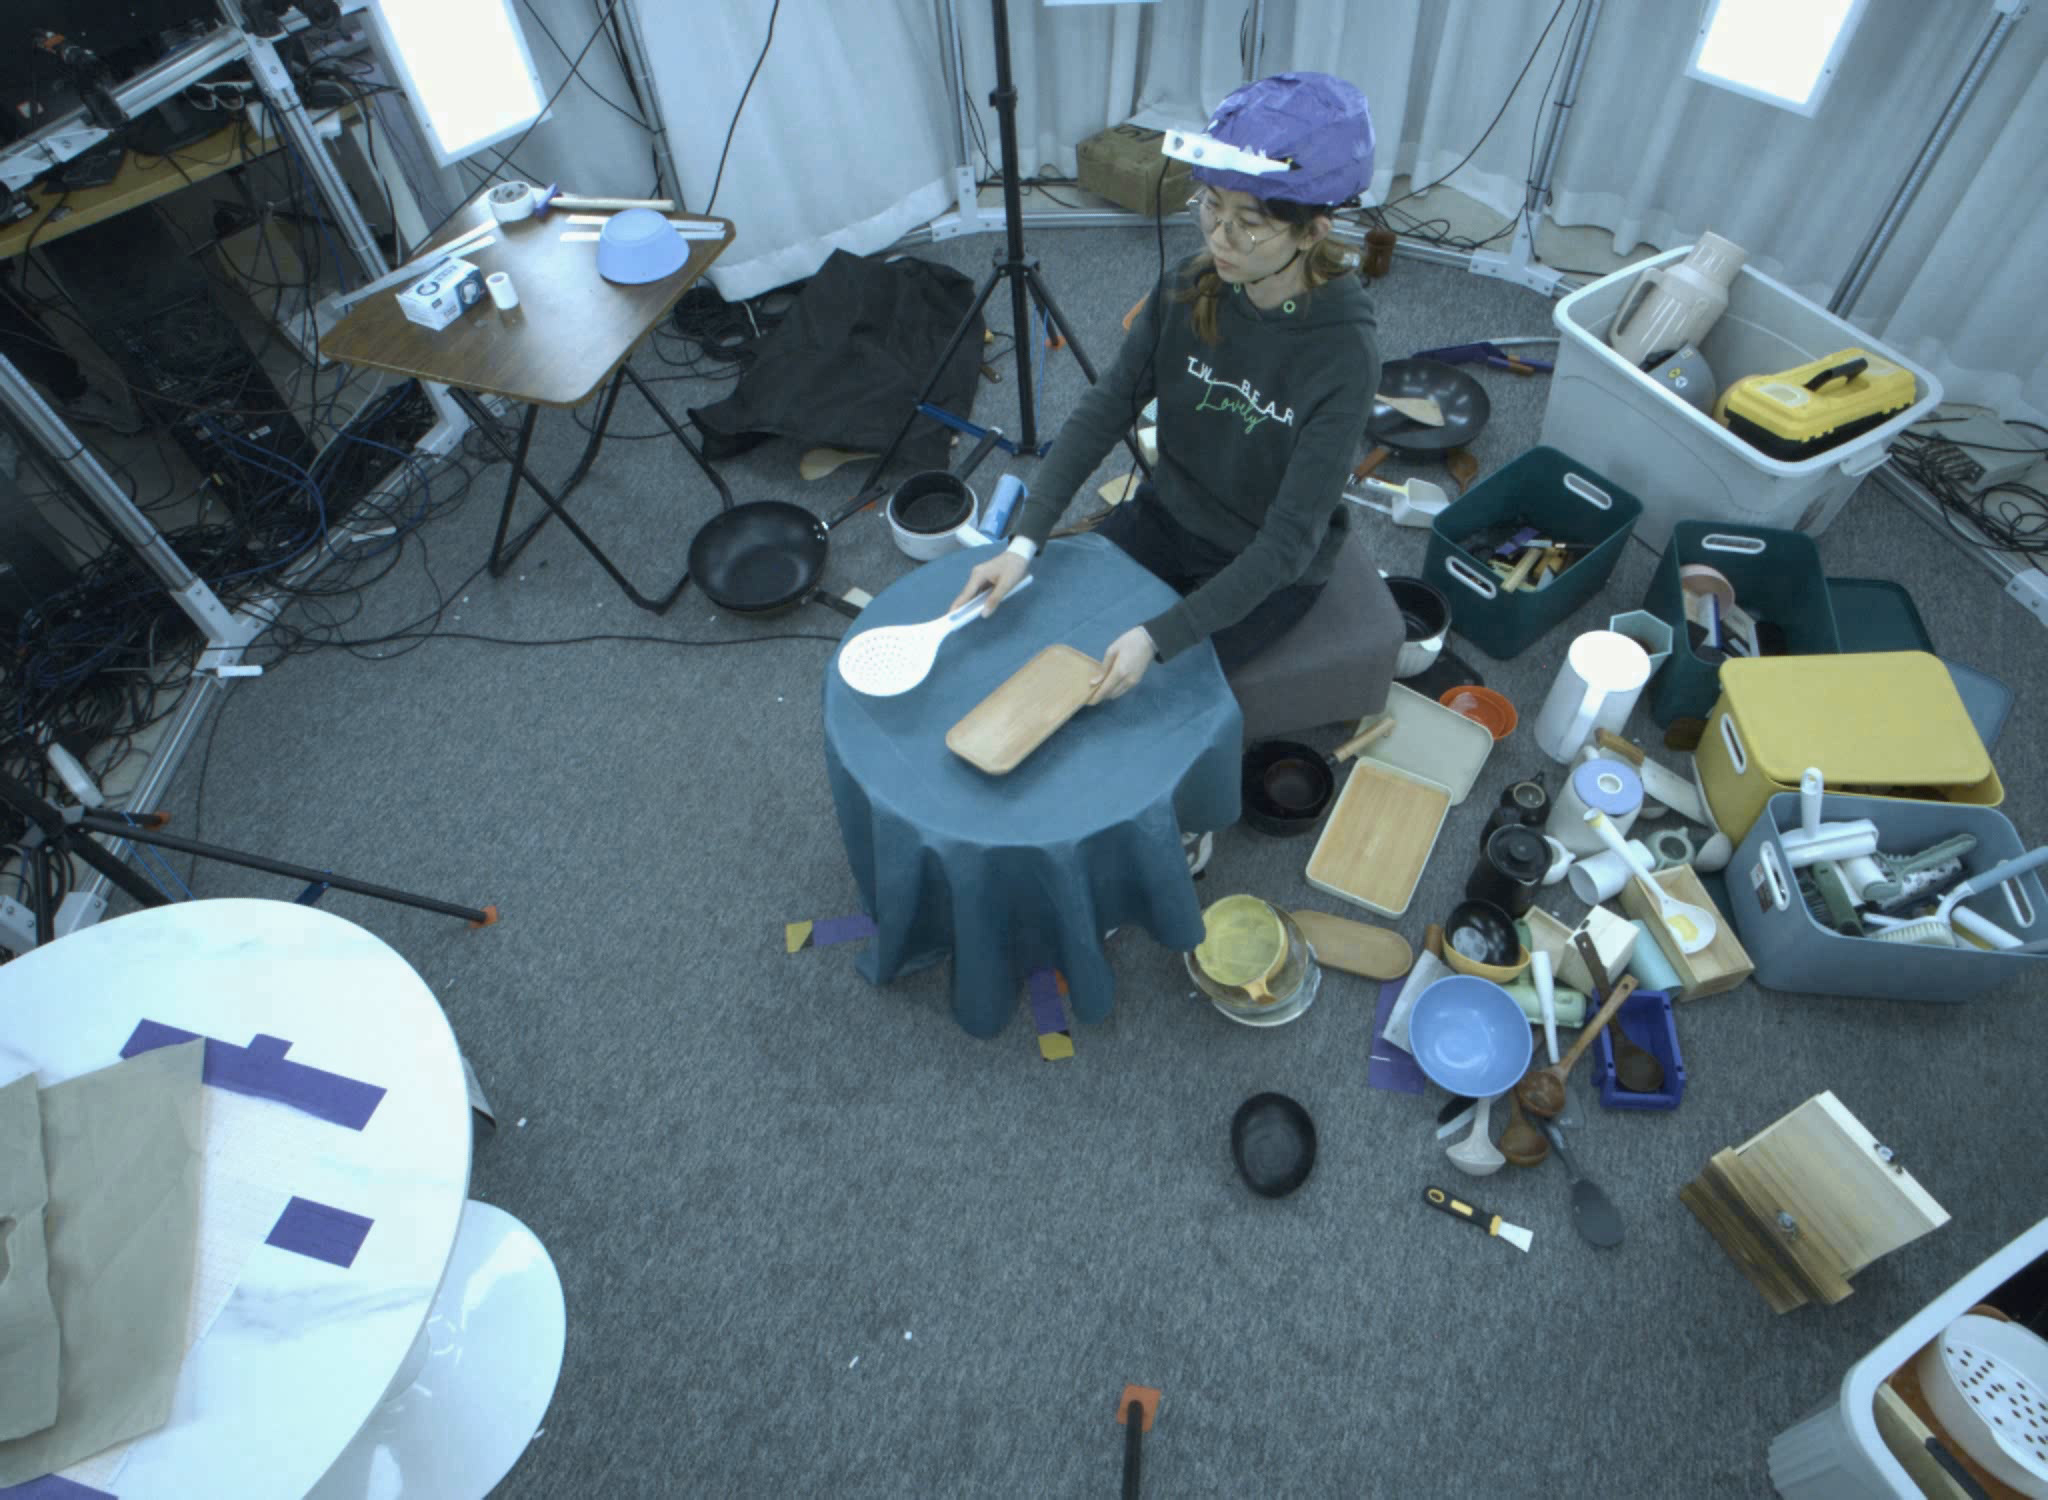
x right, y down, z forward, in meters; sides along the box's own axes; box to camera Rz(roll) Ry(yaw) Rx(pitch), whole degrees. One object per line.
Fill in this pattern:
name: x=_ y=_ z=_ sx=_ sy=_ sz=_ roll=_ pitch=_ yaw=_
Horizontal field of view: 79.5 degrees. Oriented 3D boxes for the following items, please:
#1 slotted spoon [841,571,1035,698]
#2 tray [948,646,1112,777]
slotted spoon: x=-0.122 y=-0.183 z=1.860 sx=0.352 sy=0.046 sz=0.133 roll=-38 pitch=62 yaw=-21
tray: x=0.010 y=-0.058 z=1.792 sx=0.128 sy=0.023 sz=0.252 roll=33 pitch=61 yaw=32
